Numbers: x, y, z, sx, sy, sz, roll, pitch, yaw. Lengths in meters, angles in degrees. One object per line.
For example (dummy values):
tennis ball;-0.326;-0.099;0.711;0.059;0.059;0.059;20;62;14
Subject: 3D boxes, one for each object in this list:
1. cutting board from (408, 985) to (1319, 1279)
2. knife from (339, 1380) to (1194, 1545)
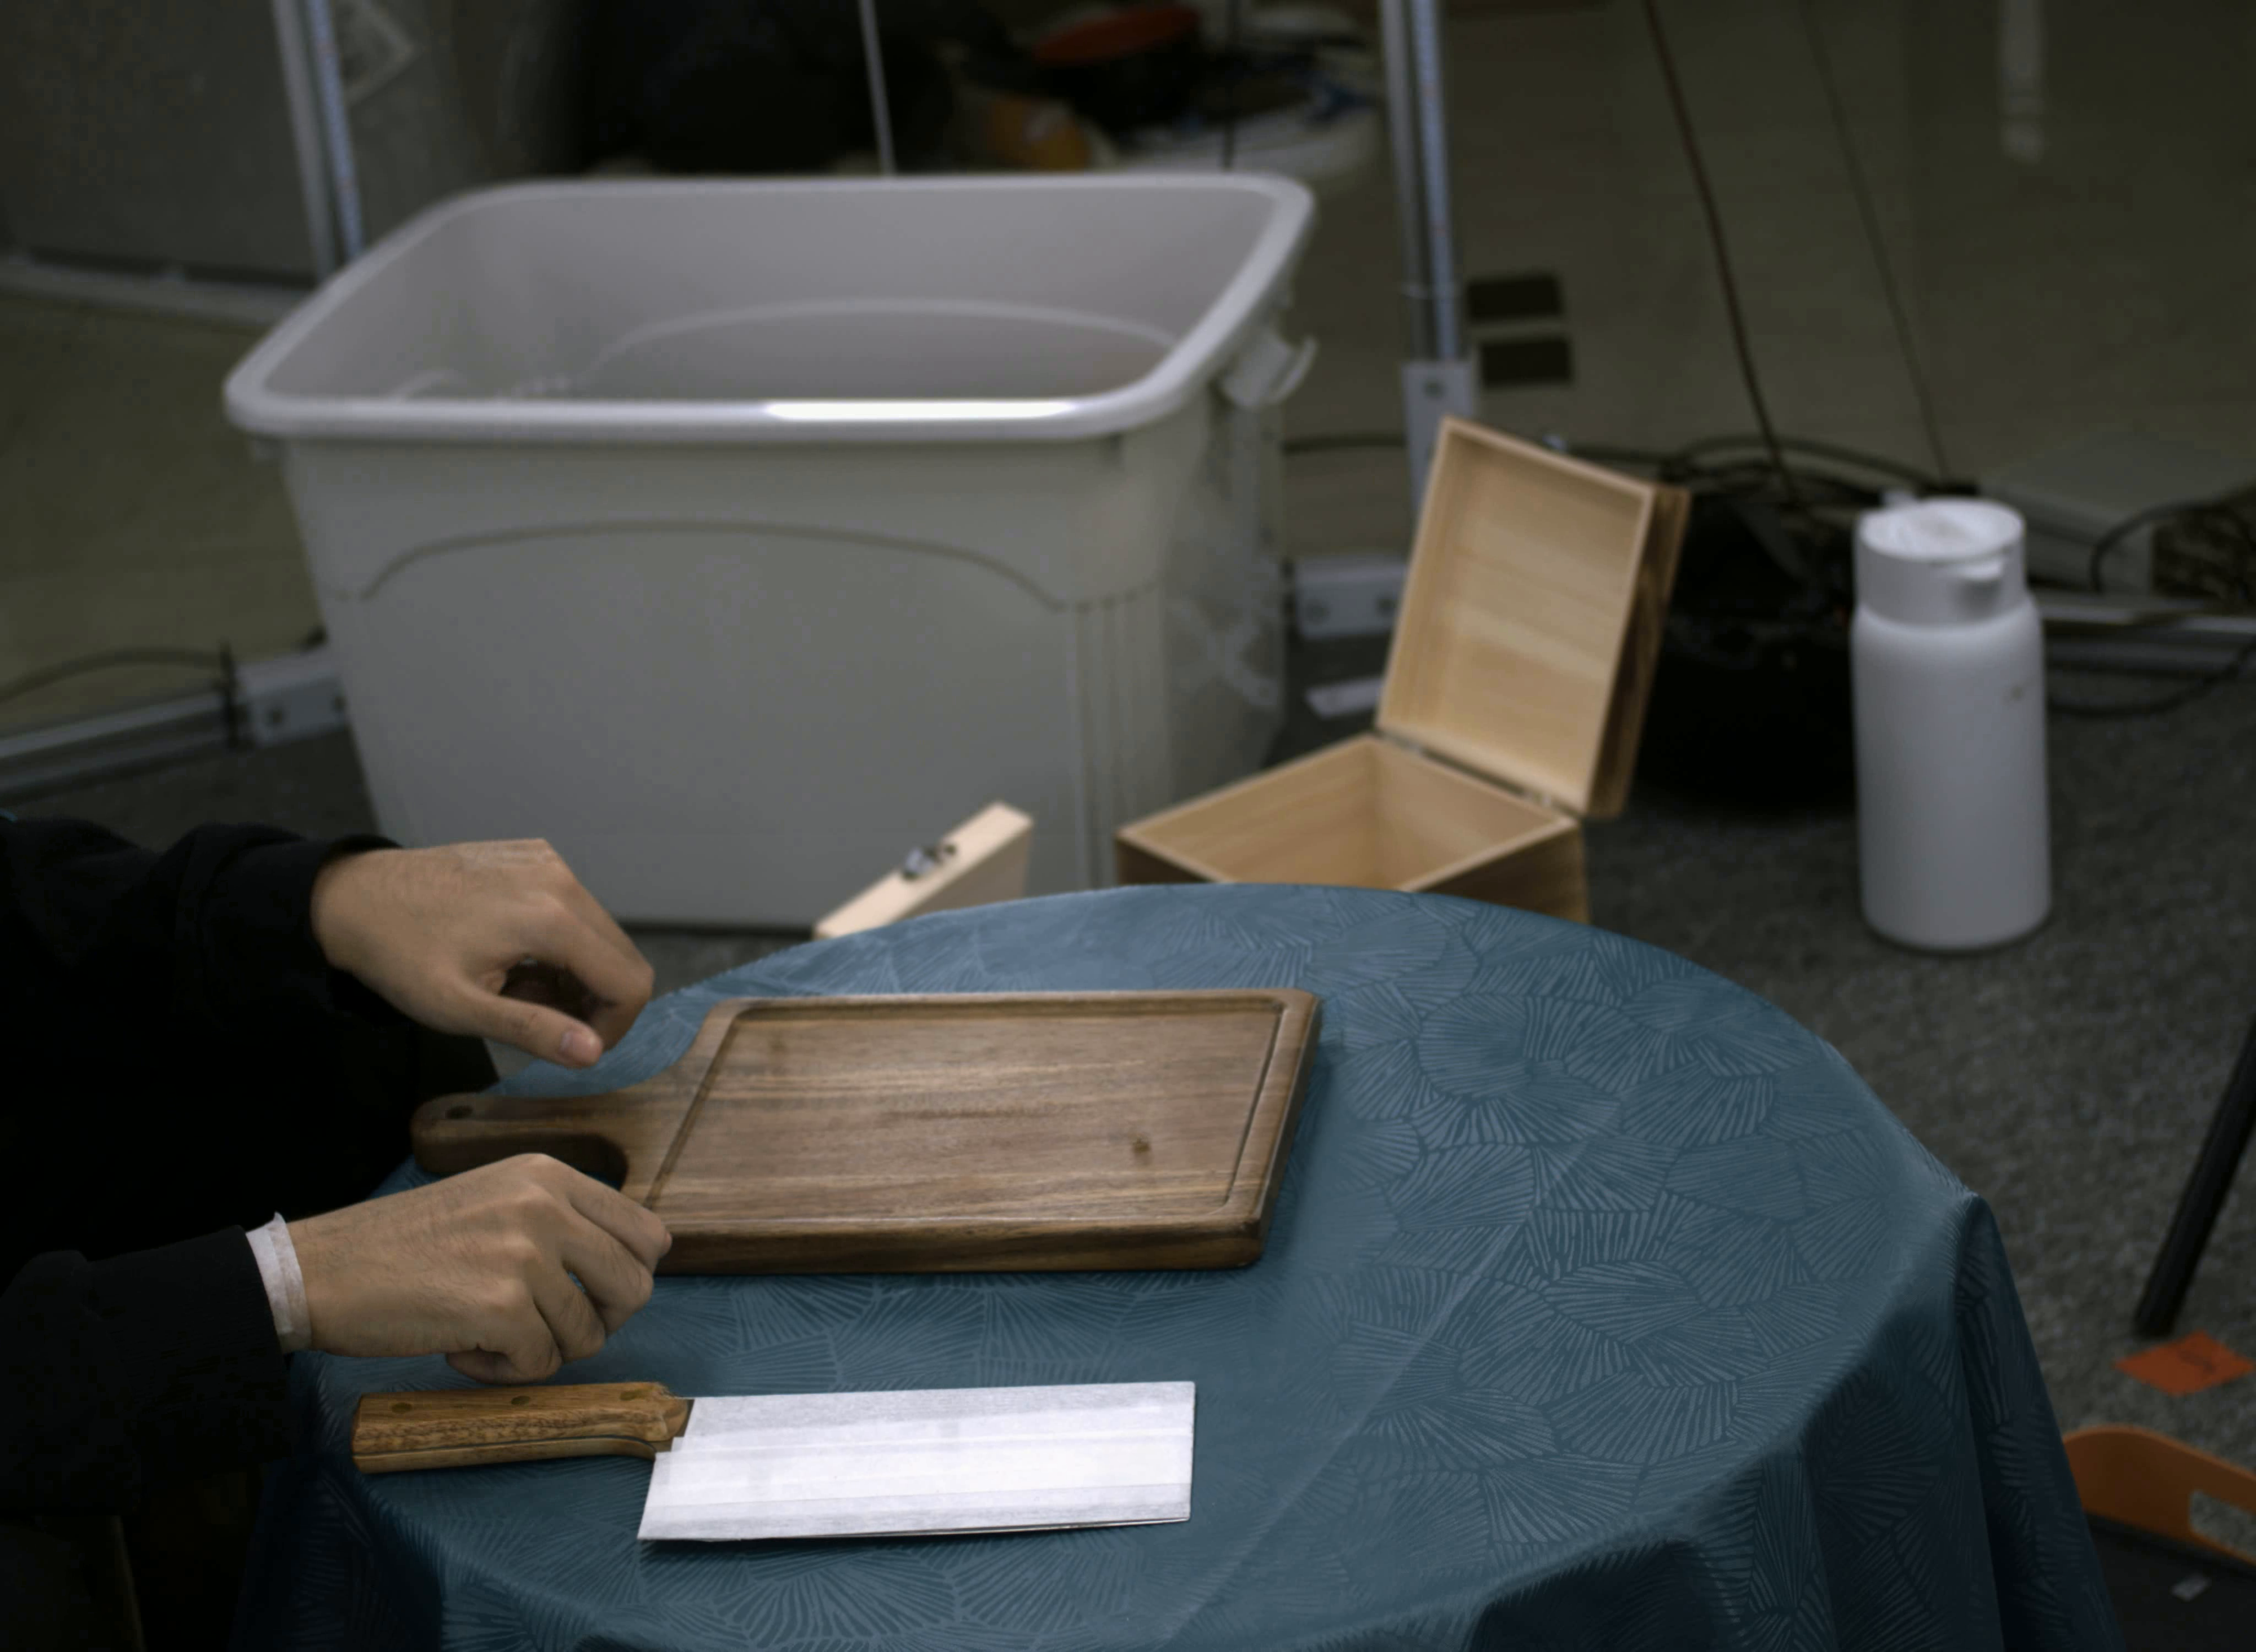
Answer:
cutting board;-0.108;0.118;2.195;0.351;0.023;0.198;-2;25;10
knife;-0.129;0.222;1.983;0.305;0.021;0.091;-2;27;3
